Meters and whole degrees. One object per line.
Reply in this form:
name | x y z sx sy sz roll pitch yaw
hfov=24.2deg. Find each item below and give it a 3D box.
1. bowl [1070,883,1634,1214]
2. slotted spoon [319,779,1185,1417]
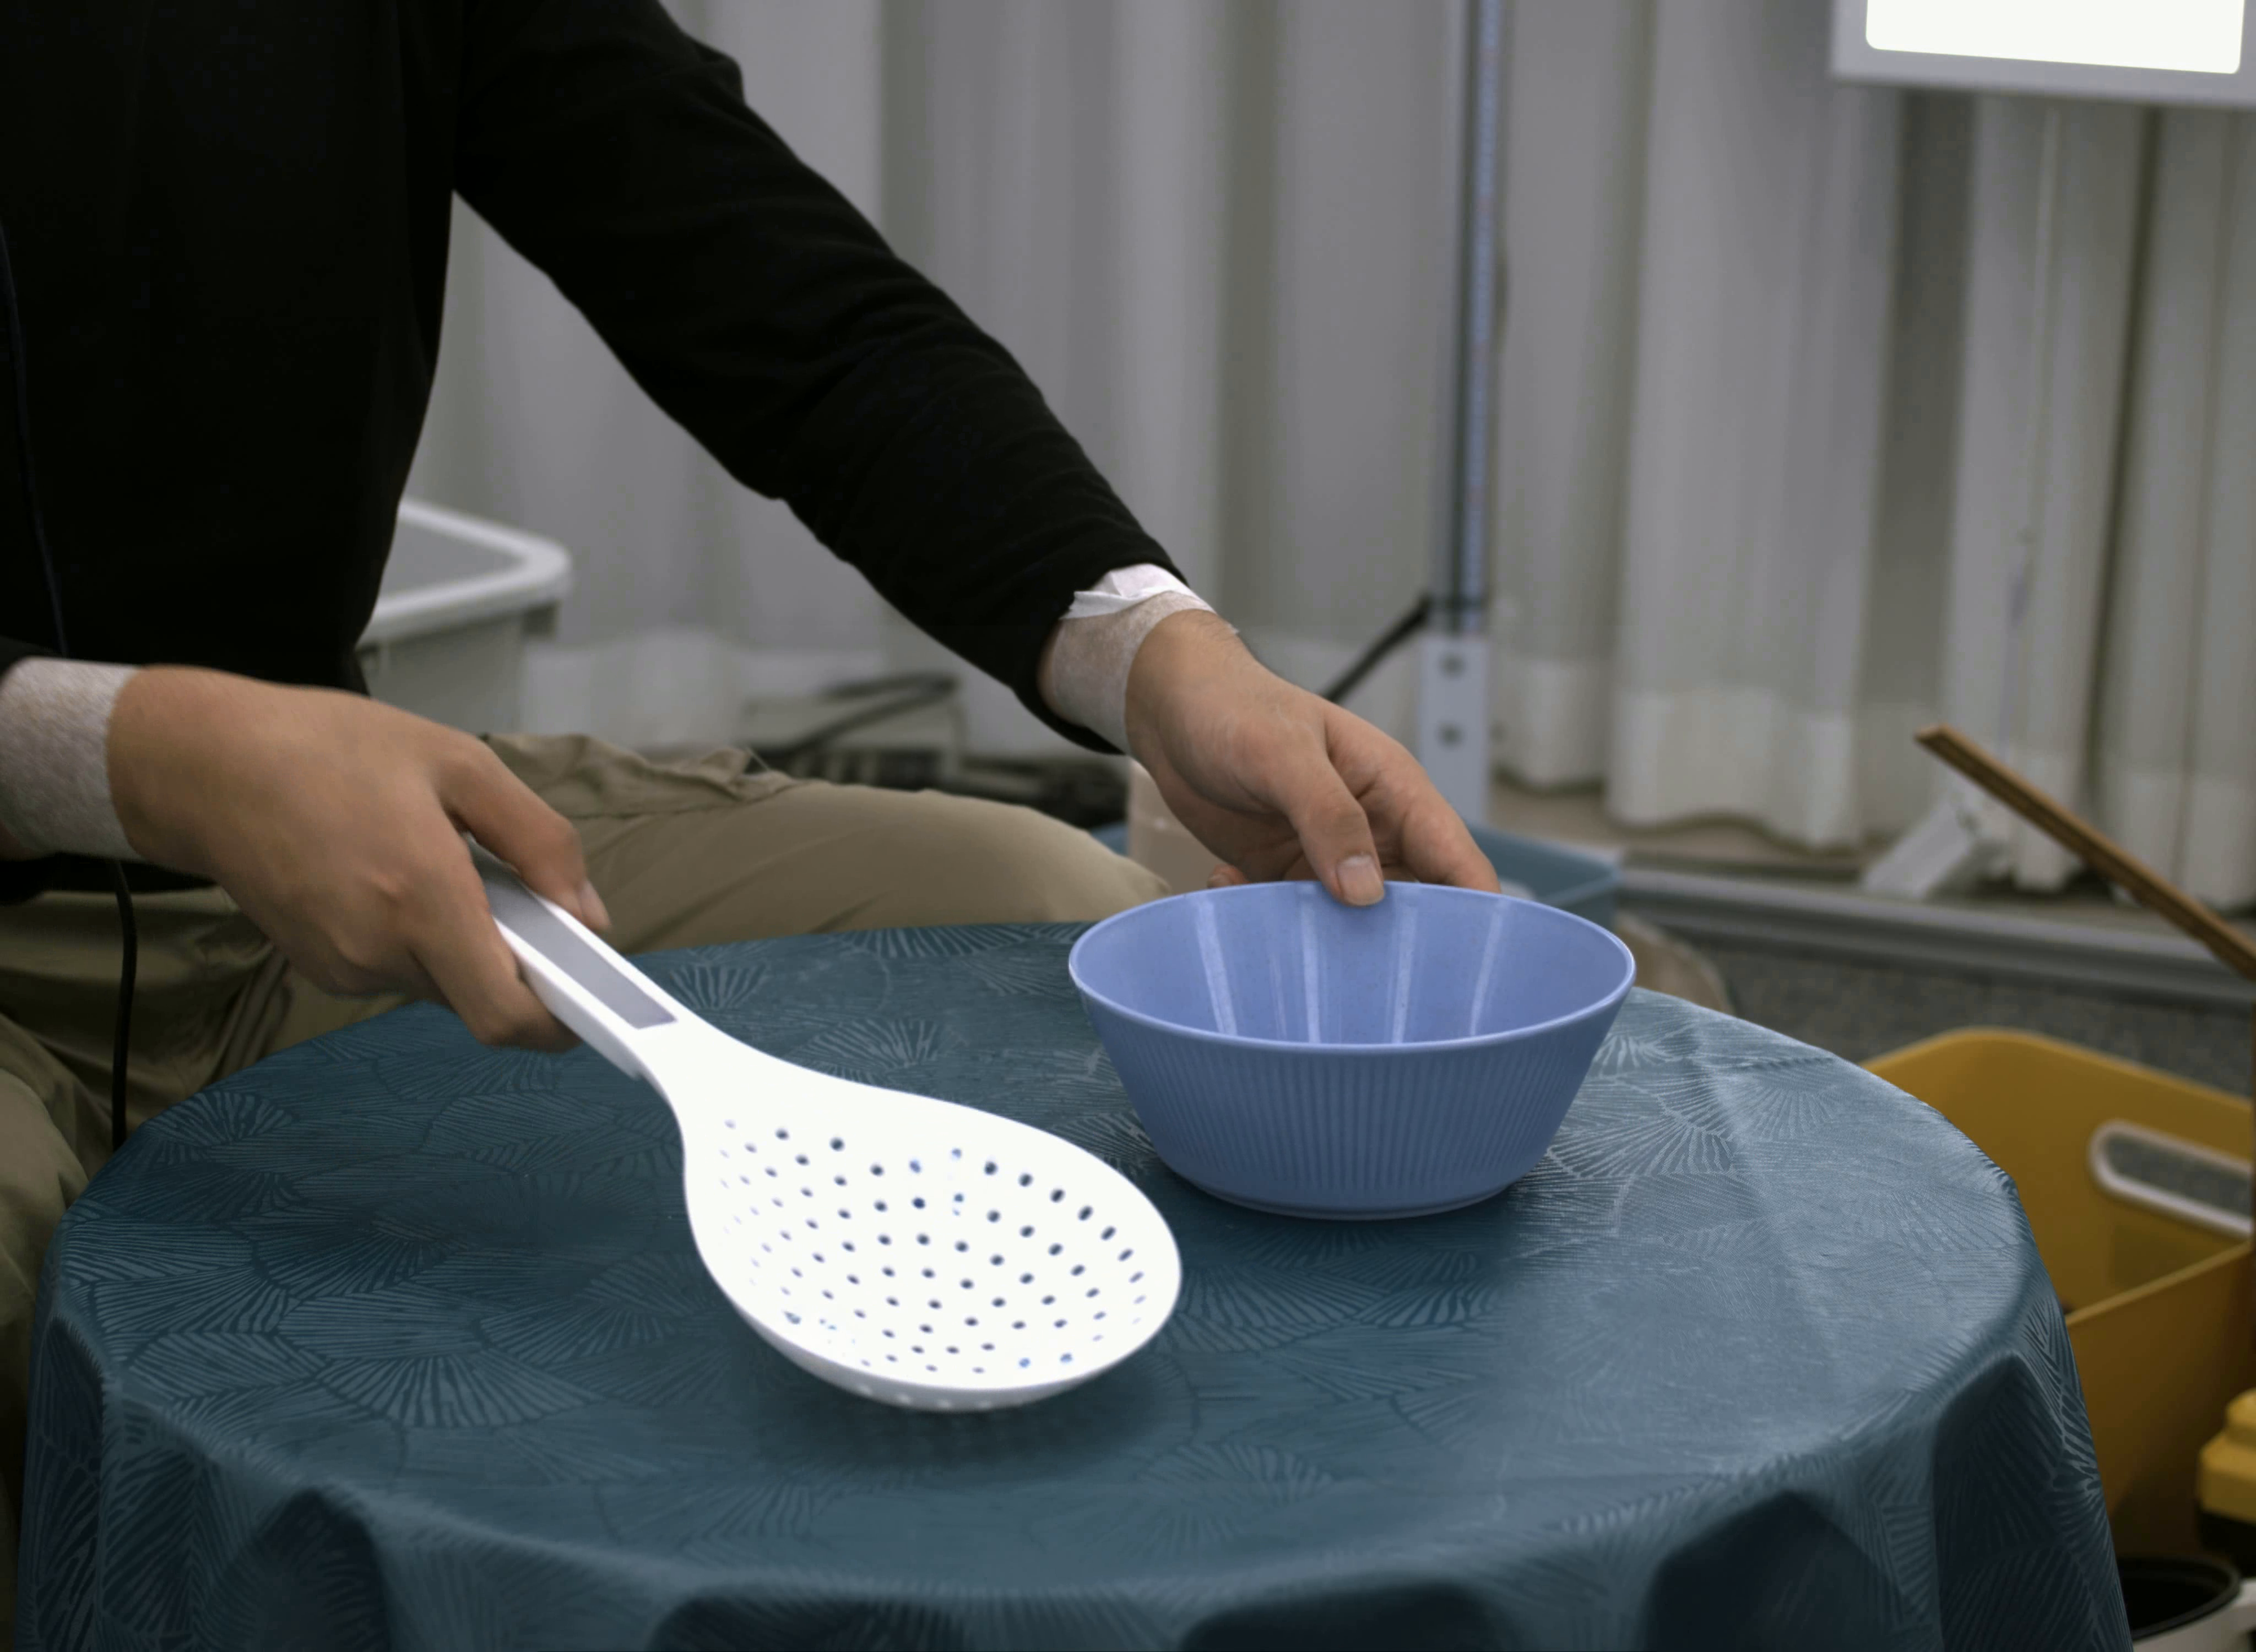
bowl | 0.069 0.071 1.638 0.175 0.071 0.175 1 15 0
slotted spoon | -0.124 0.072 1.515 0.136 0.046 0.345 -21 47 -39
